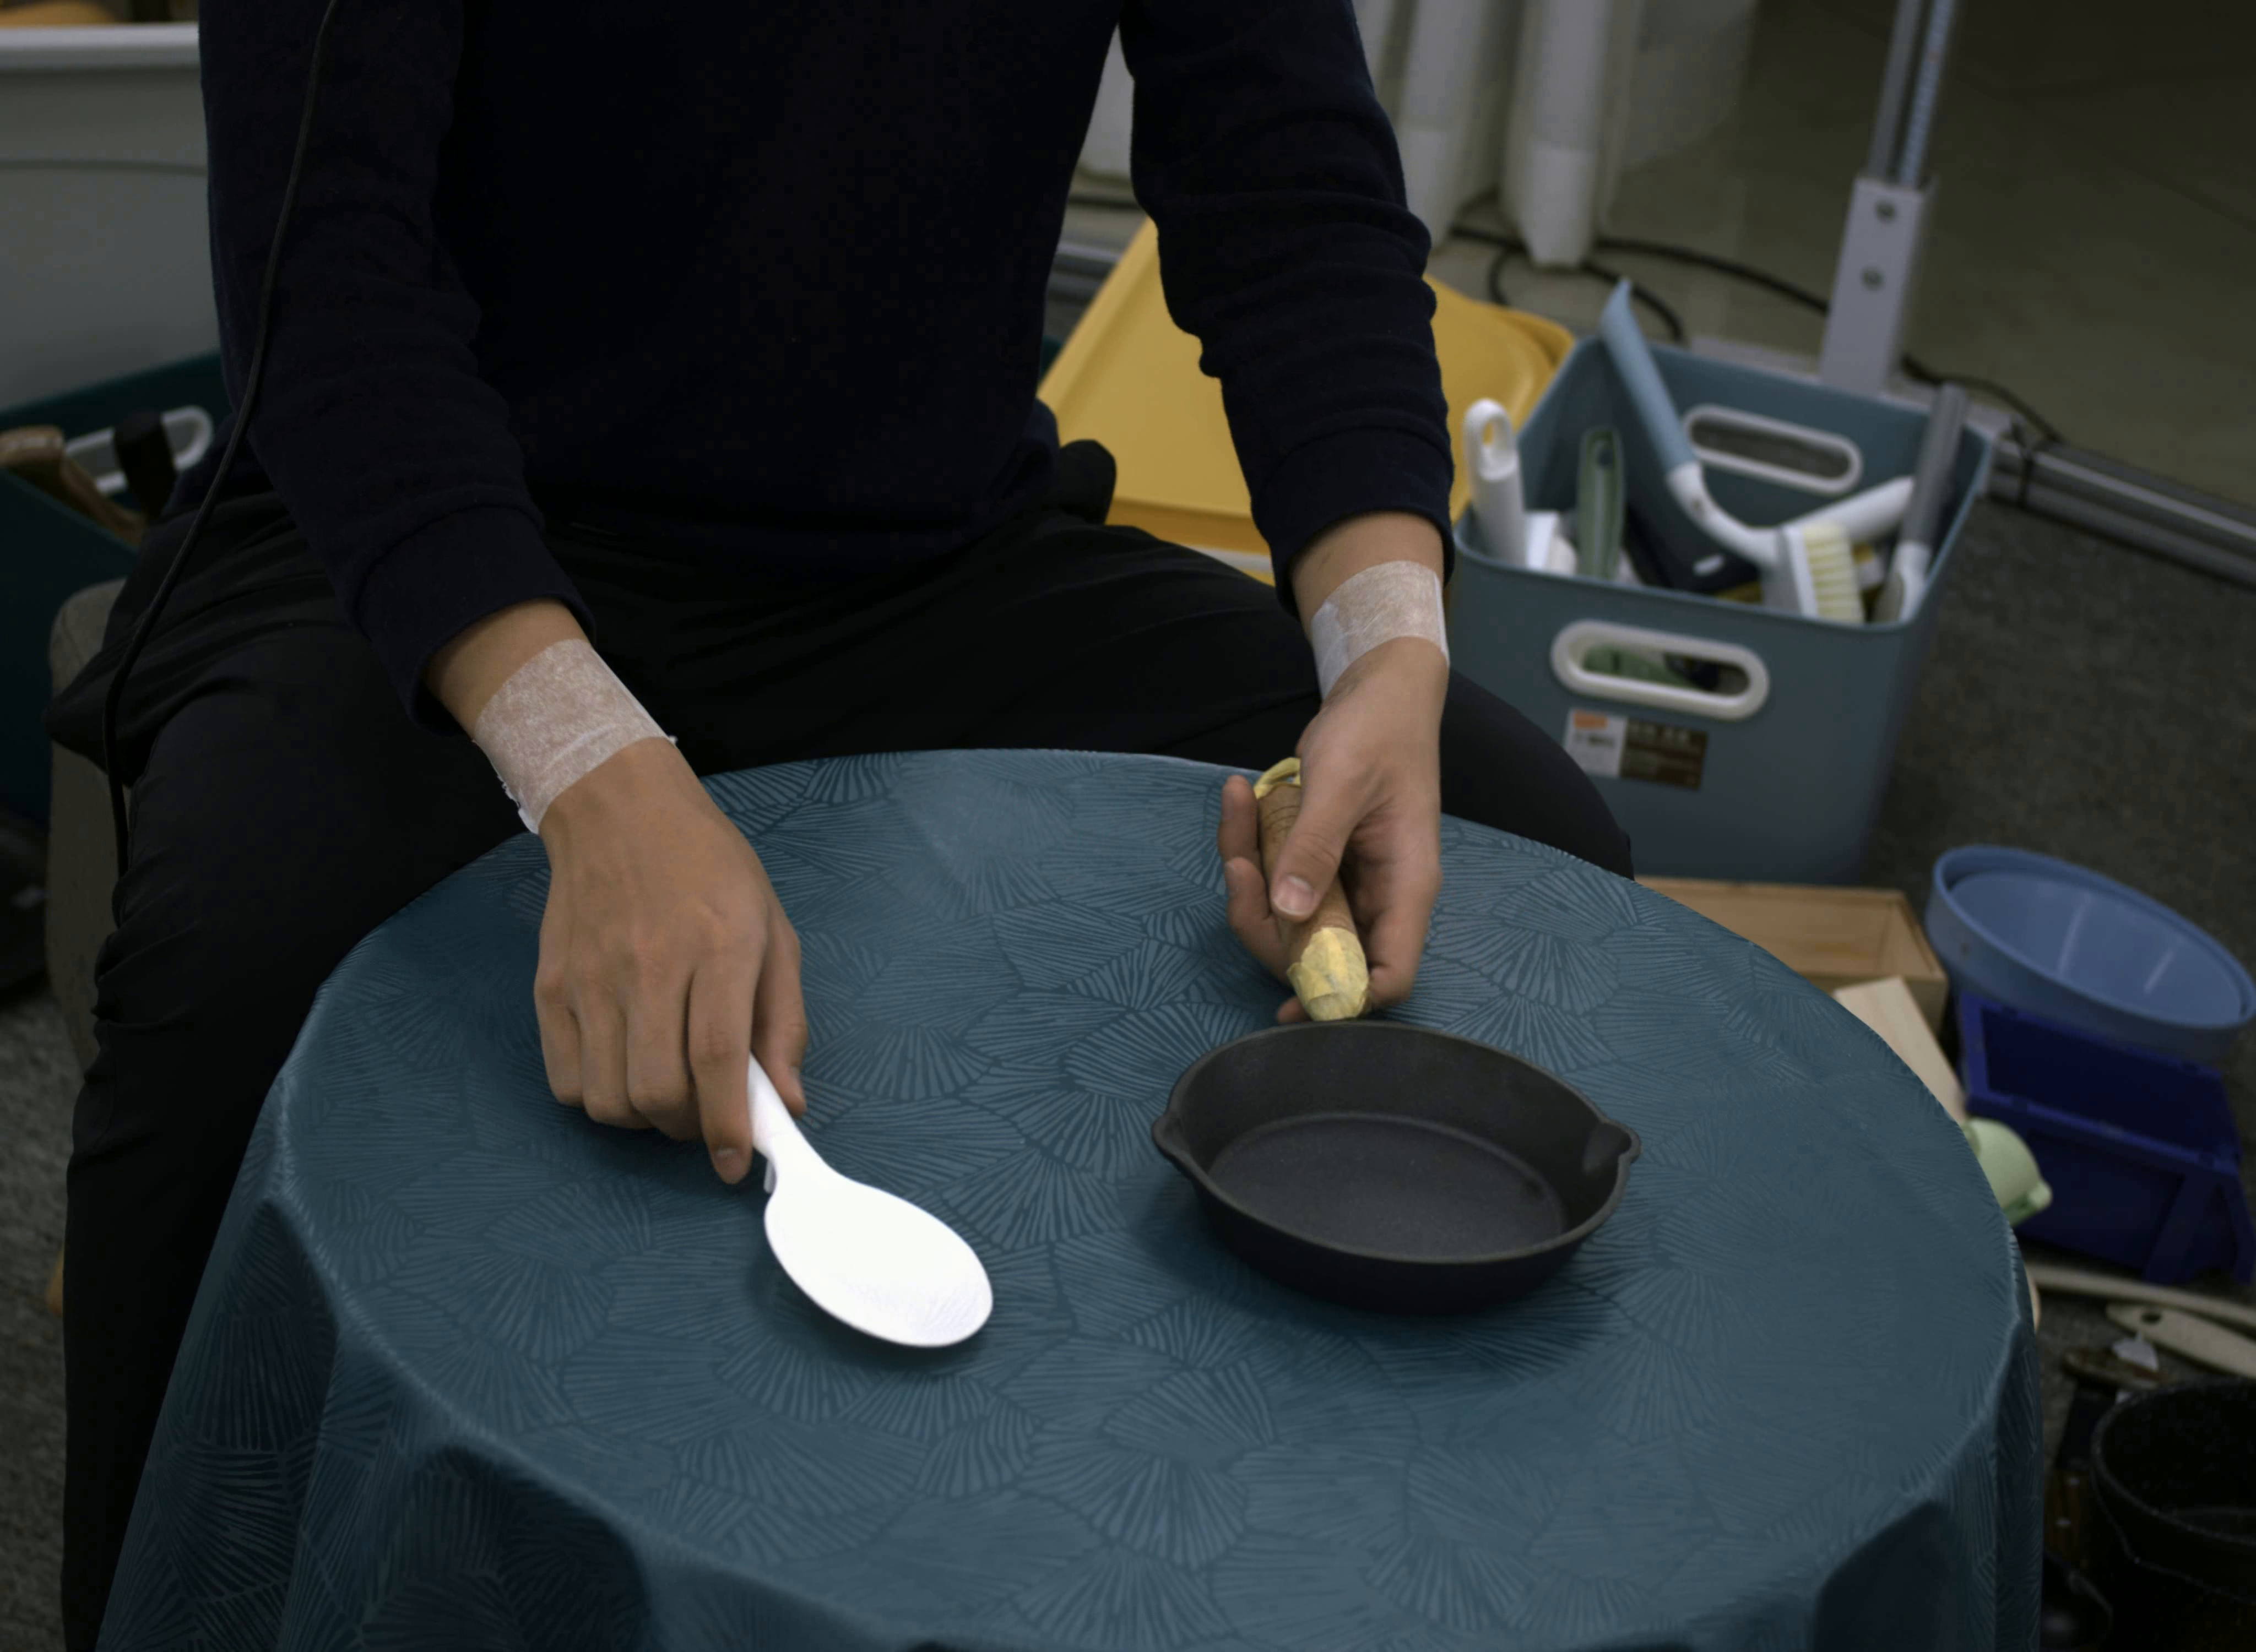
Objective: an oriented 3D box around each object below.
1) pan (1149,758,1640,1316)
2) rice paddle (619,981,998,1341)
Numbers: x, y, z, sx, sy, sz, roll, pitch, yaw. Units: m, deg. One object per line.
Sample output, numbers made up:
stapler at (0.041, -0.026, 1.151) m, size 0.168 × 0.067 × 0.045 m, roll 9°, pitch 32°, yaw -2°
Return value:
pan at (0.080, 0.071, 1.868) m, size 0.168 × 0.049 × 0.326 m, roll 2°, pitch 29°, yaw -8°
rice paddle at (-0.109, 0.113, 1.763) m, size 0.068 × 0.029 × 0.207 m, roll -7°, pitch 31°, yaw -32°
